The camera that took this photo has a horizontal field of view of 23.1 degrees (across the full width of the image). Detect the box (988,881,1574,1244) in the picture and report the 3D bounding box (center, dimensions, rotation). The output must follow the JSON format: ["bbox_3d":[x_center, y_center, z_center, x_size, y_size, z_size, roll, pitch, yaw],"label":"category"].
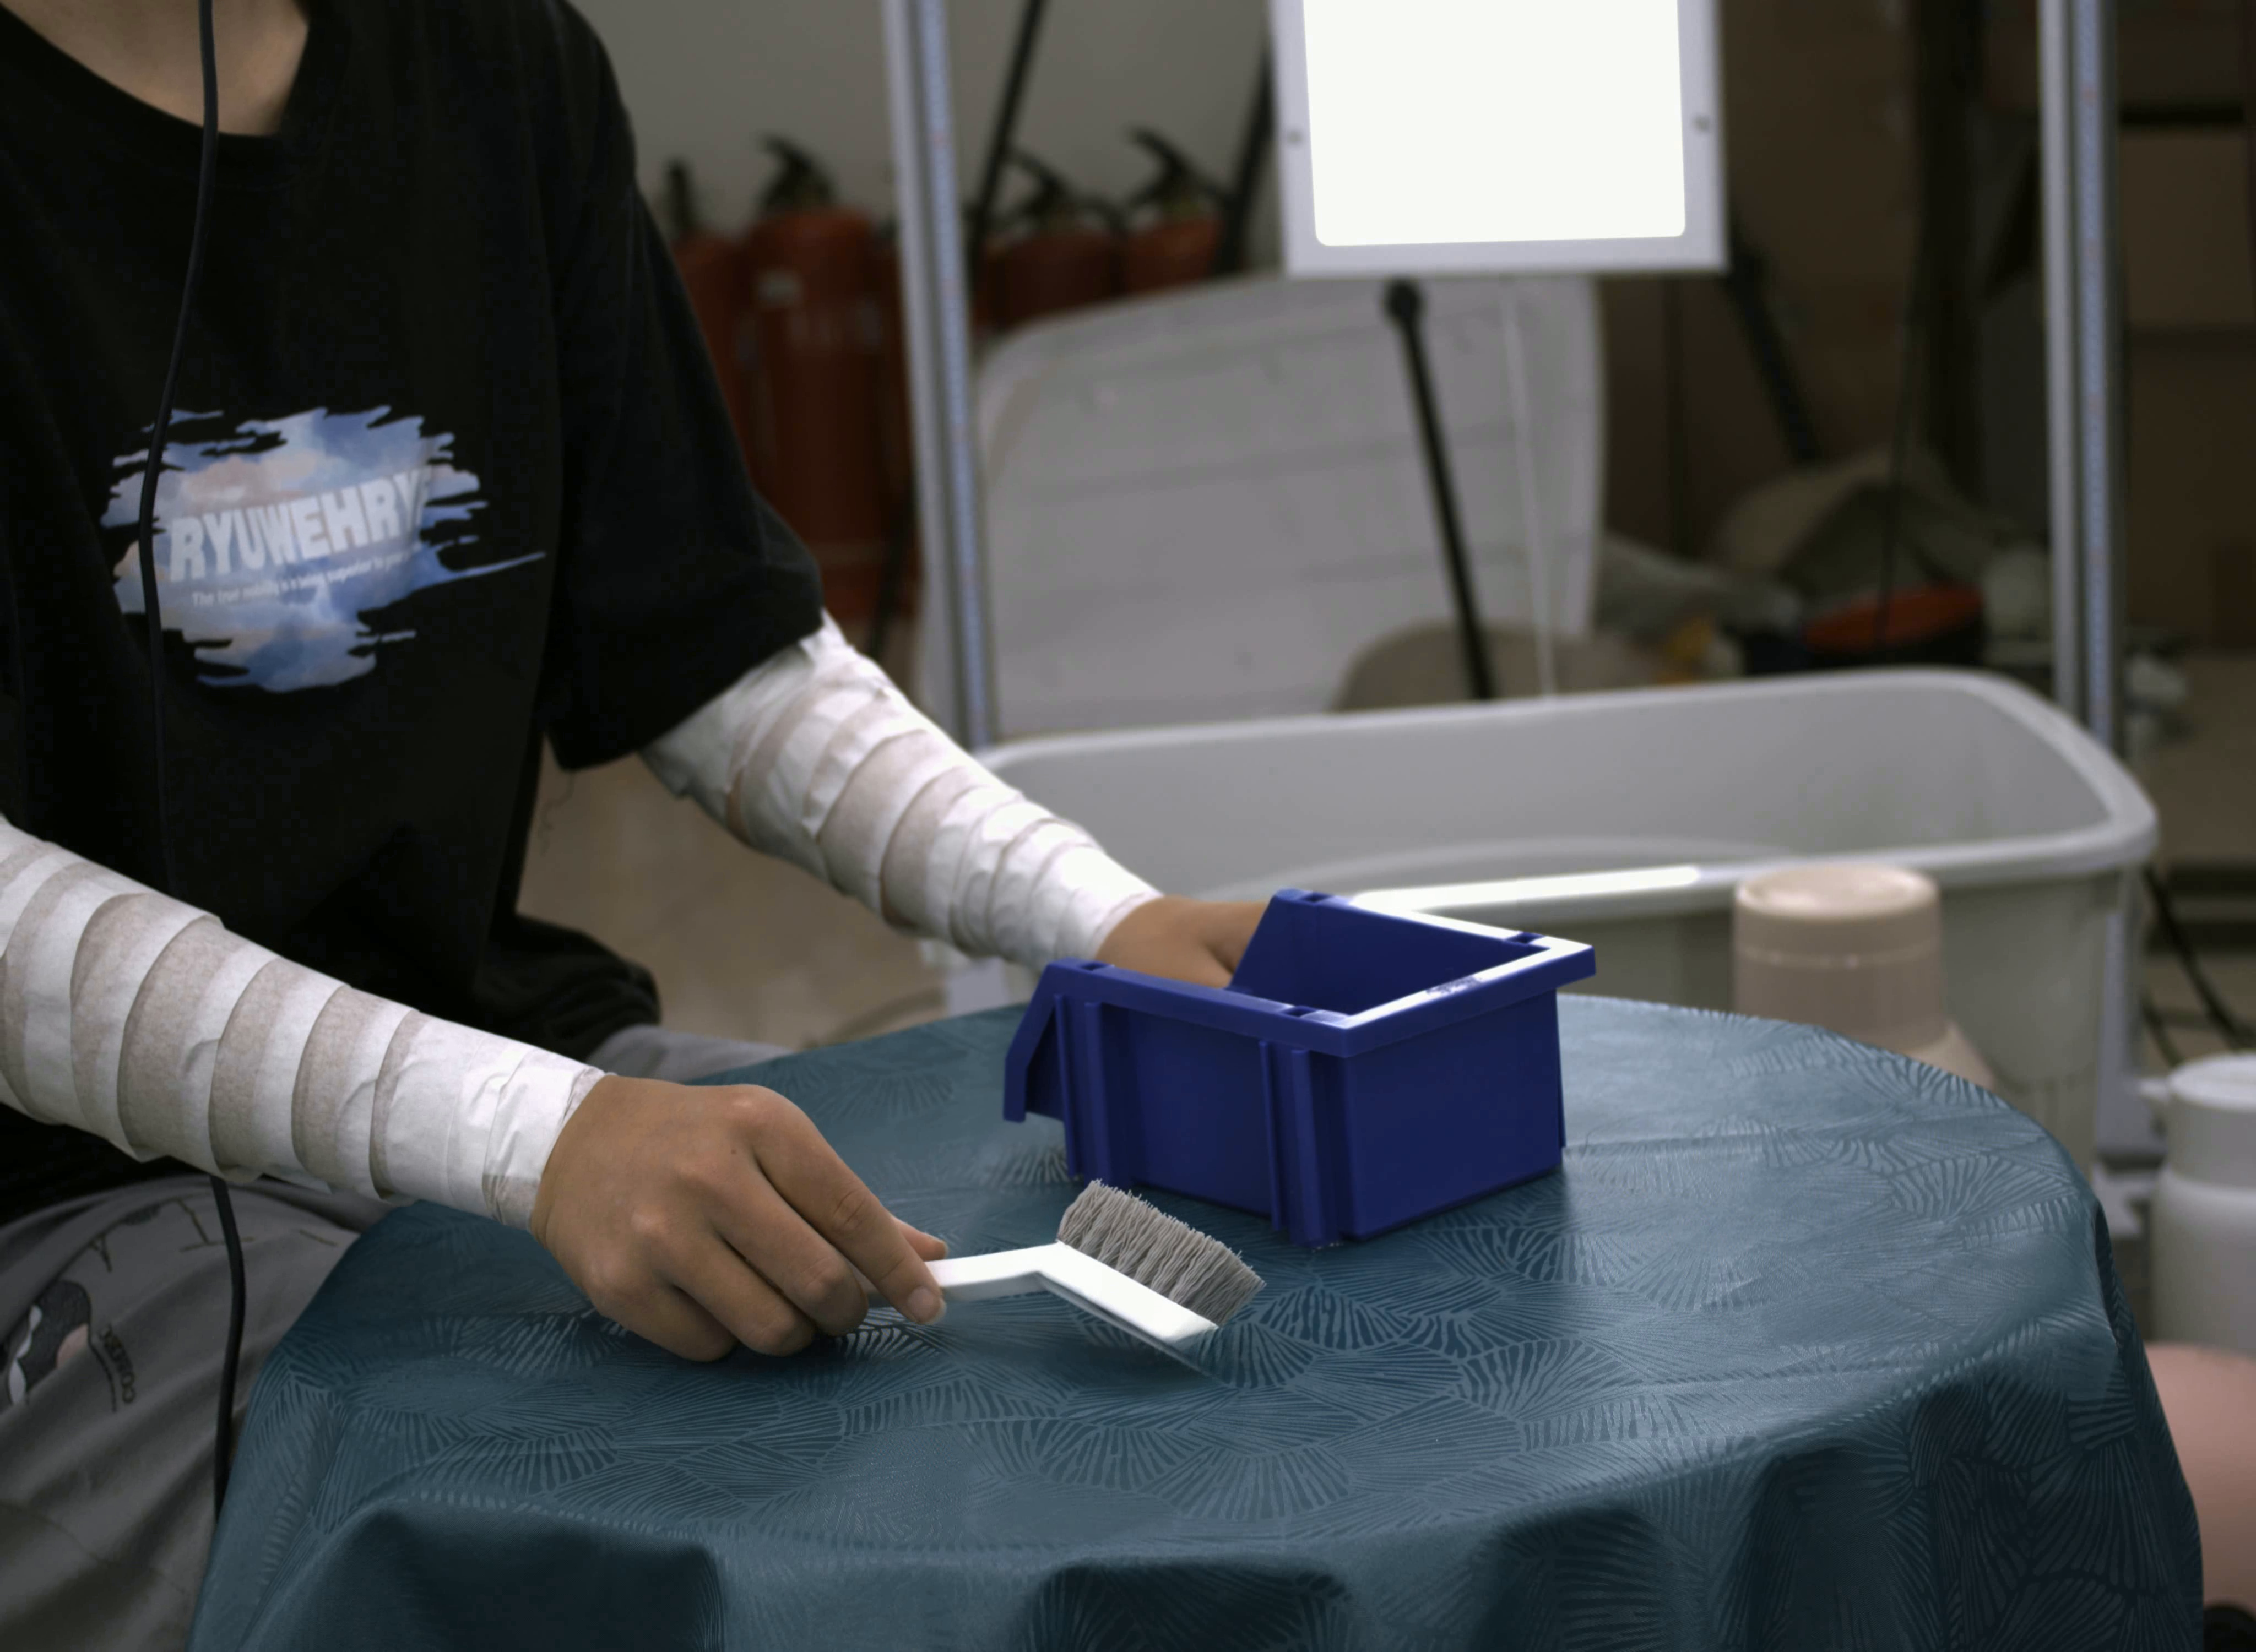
[{"bbox_3d":[0.050,0.079,1.904,0.121,0.082,0.183,-16,19,-37],"label":"box"}]

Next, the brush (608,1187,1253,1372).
[{"bbox_3d":[-0.067,0.136,1.775,0.249,0.050,0.034,4,-24,38],"label":"brush"}]
